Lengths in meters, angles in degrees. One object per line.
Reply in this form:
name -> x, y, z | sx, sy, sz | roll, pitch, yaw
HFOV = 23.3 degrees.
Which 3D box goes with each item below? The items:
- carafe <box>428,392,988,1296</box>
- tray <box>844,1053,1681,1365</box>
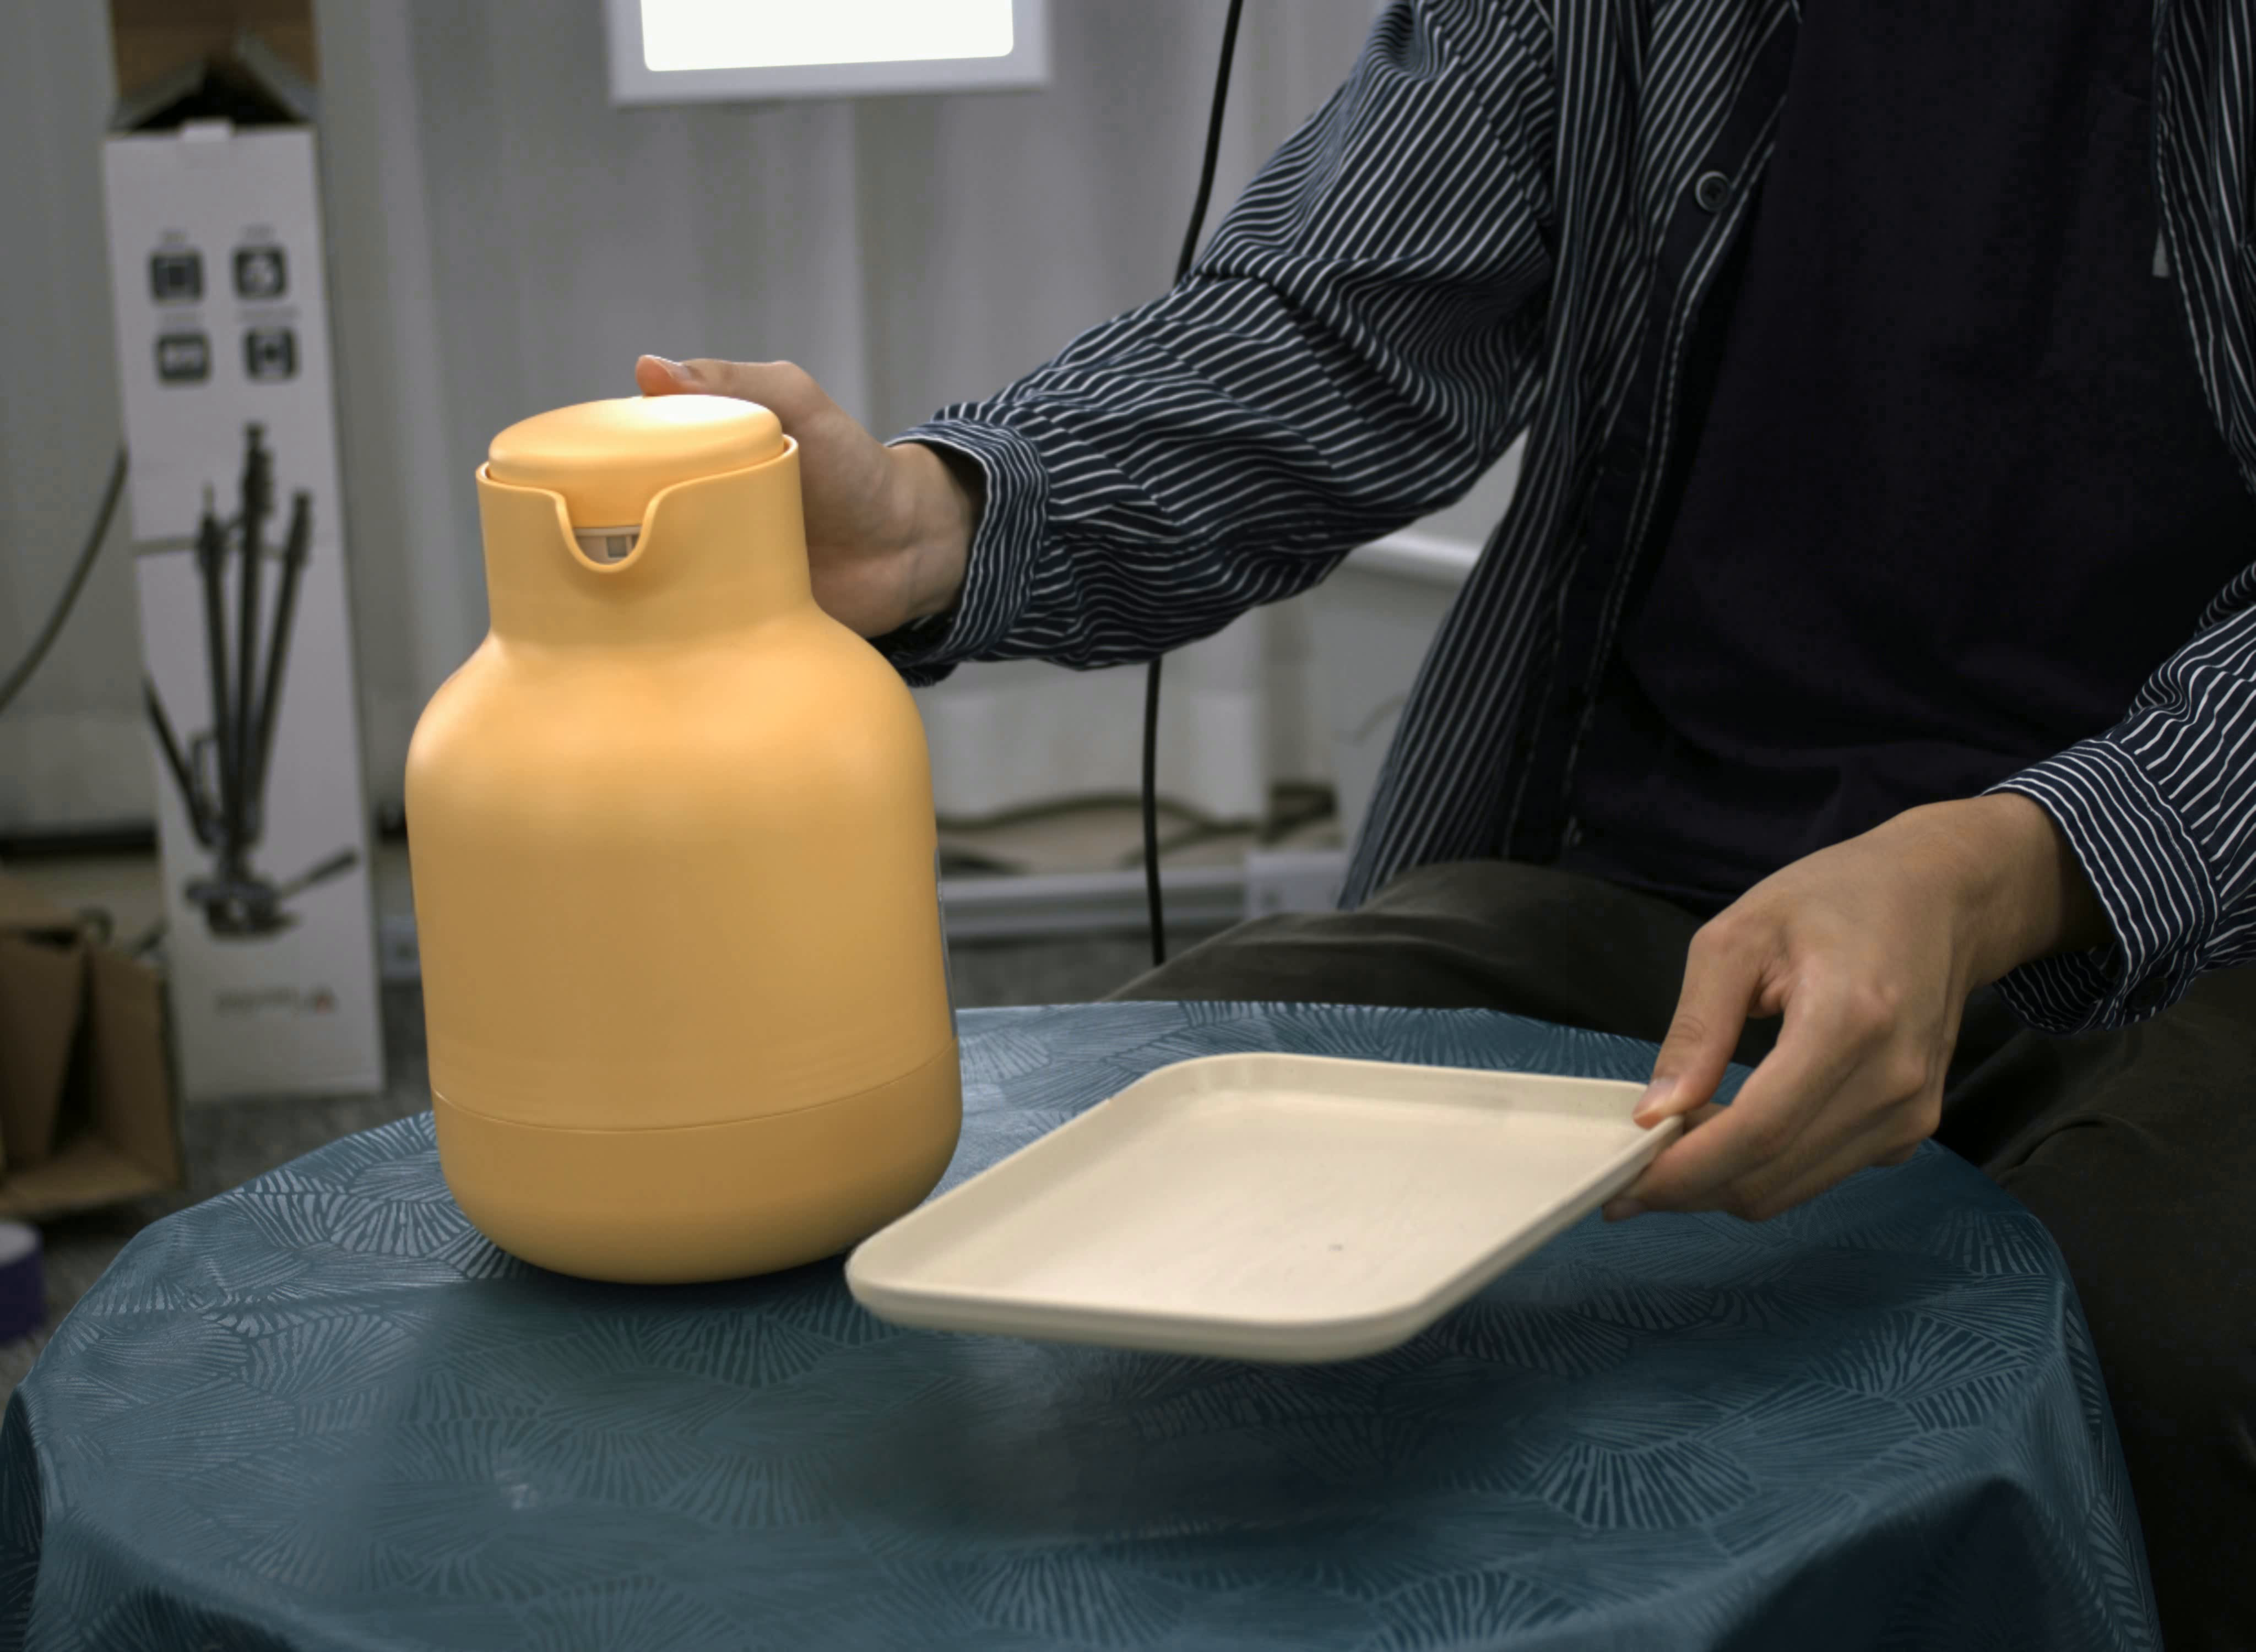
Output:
carafe -> -0.129, -0.003, 1.677 | 0.163, 0.259, 0.204 | -3, 14, 1
tray -> 0.042, 0.105, 1.518 | 0.171, 0.017, 0.240 | 3, 14, 27
